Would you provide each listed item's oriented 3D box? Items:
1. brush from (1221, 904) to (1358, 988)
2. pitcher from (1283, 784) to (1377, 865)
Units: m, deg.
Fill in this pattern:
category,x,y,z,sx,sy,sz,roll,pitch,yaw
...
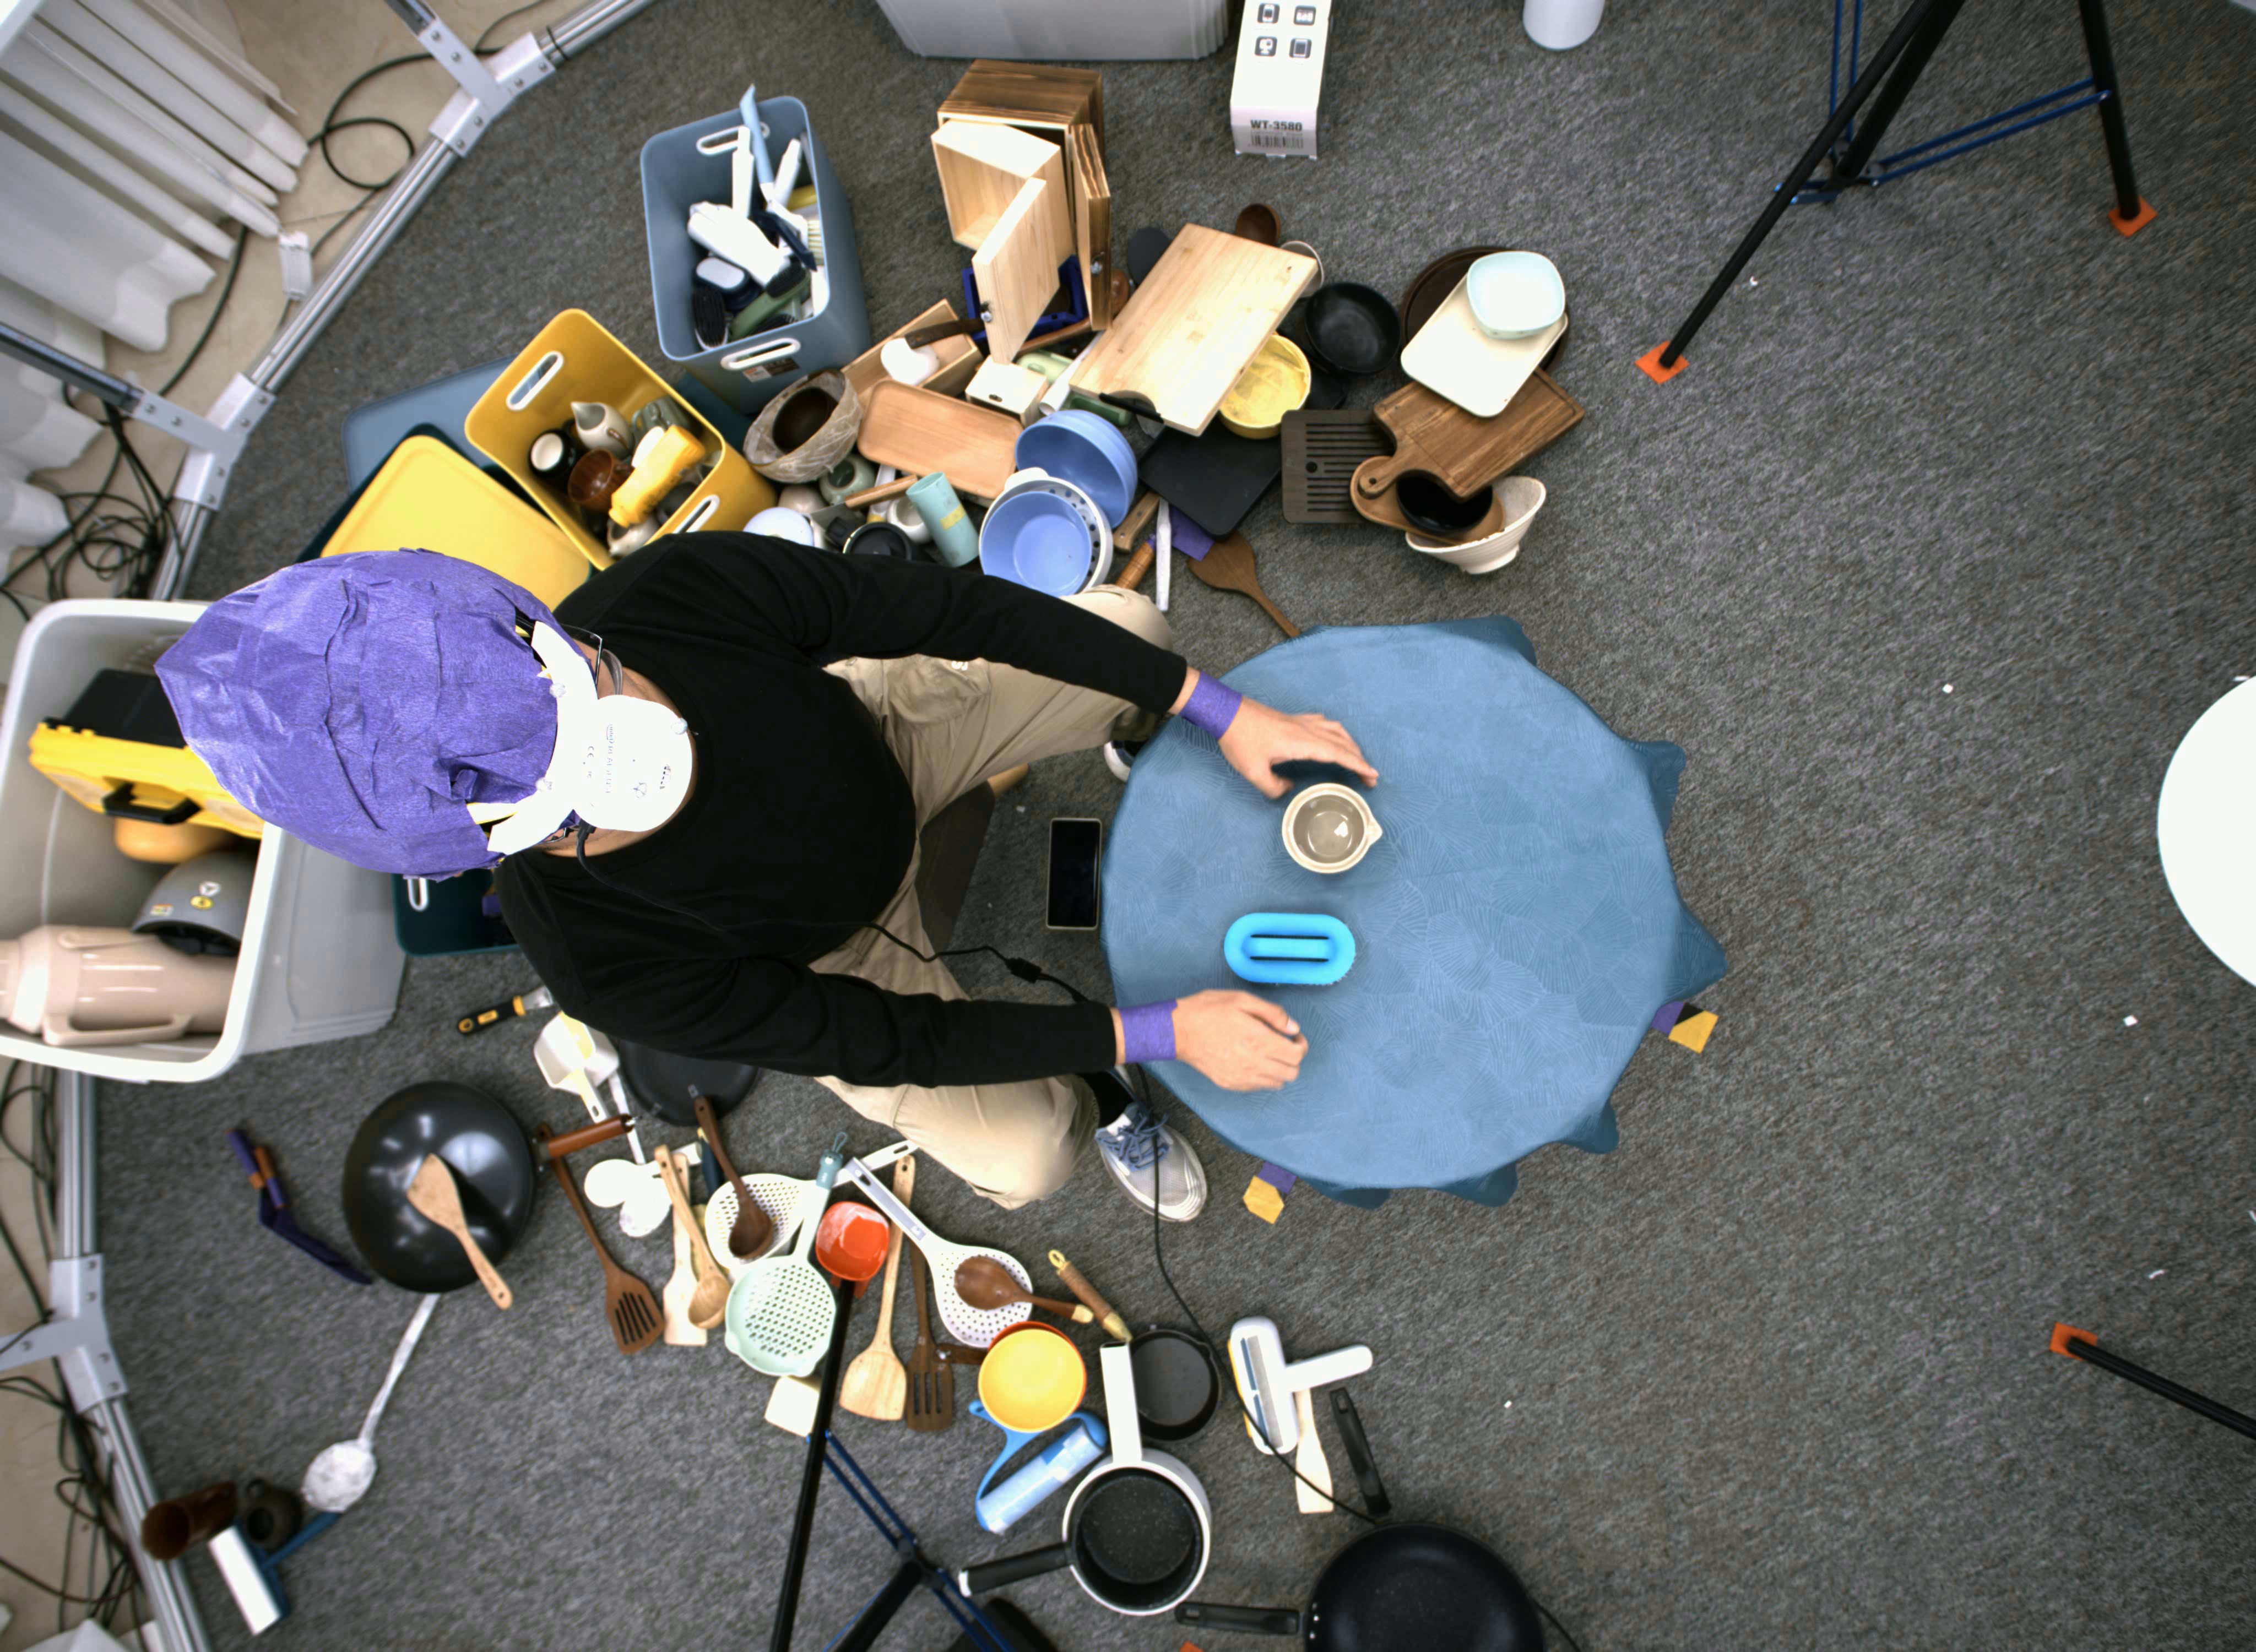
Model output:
category,x,y,z,sx,sy,sz,roll,pitch,yaw
brush,0.166,0.124,1.442,0.142,0.063,0.084,2,91,11
pitcher,0.210,0.002,1.436,0.096,0.071,0.083,11,87,9
